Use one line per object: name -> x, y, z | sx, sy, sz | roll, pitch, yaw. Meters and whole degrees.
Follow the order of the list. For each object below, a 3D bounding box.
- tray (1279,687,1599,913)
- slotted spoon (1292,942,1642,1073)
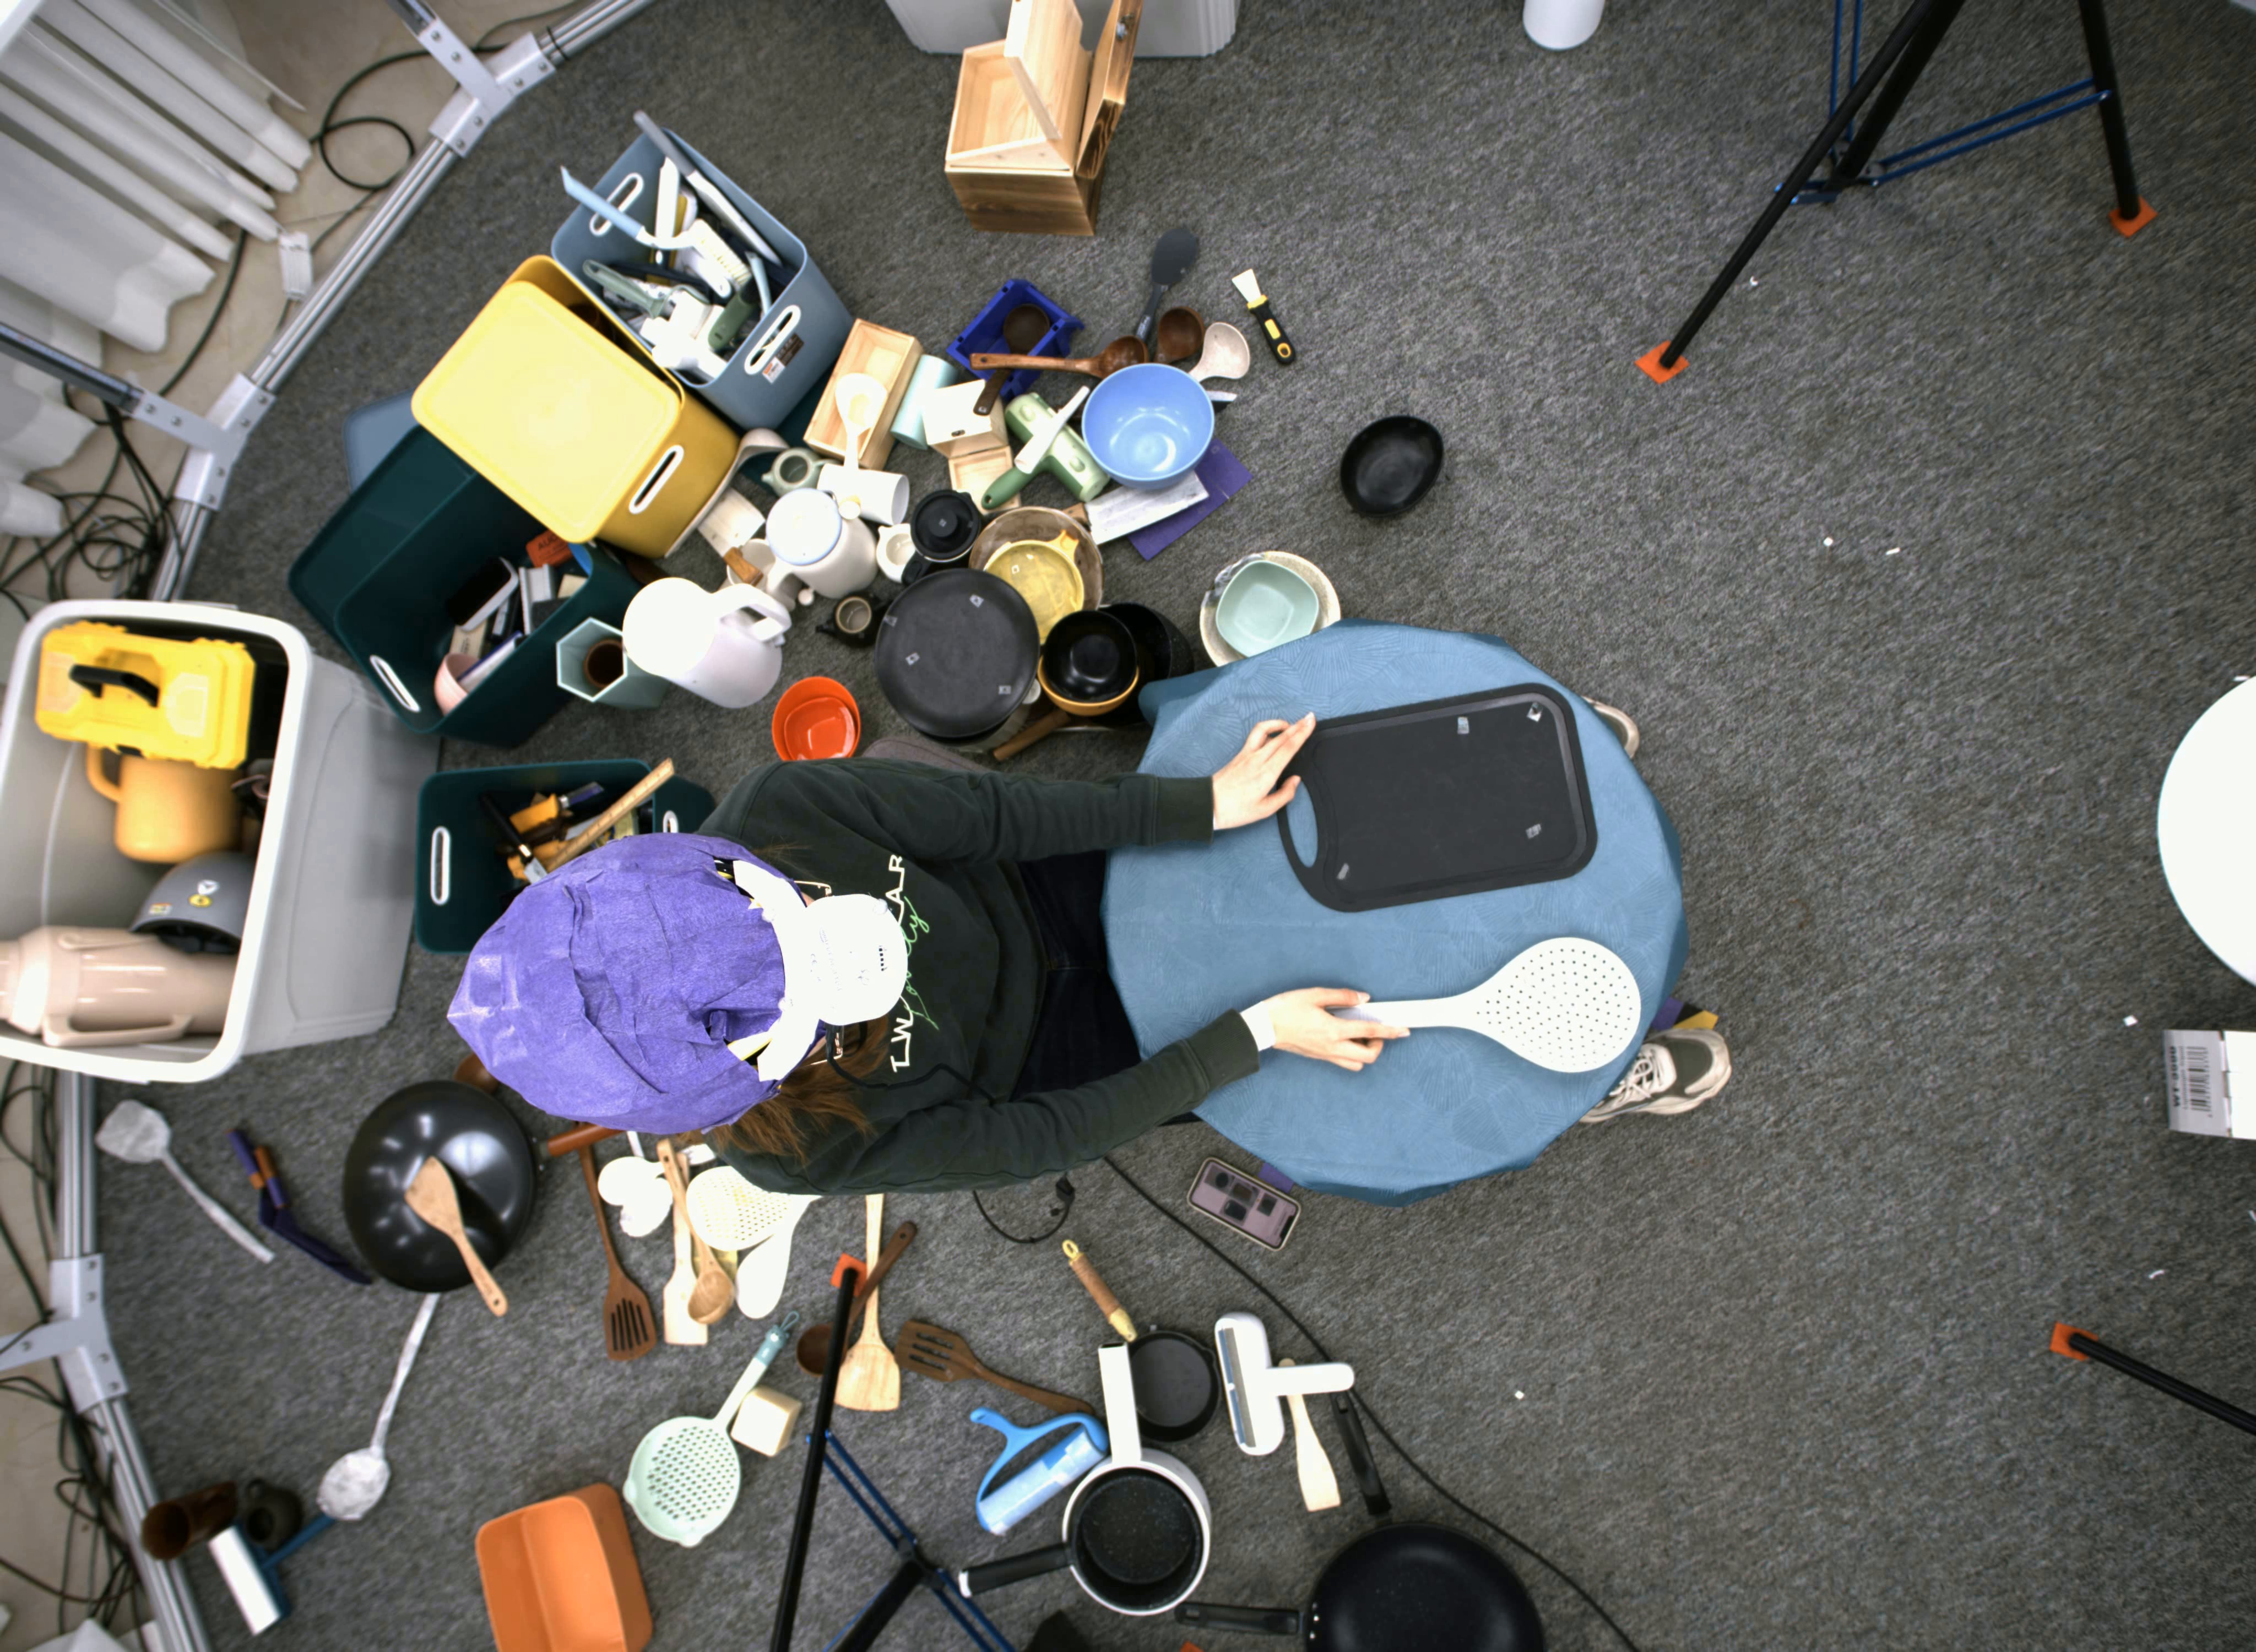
tray -> 0.323, -0.027, 1.458 | 0.327, 0.010, 0.210 | -10, 84, 10
slotted spoon -> 0.343, 0.191, 1.418 | 0.351, 0.046, 0.133 | -3, 68, 11
